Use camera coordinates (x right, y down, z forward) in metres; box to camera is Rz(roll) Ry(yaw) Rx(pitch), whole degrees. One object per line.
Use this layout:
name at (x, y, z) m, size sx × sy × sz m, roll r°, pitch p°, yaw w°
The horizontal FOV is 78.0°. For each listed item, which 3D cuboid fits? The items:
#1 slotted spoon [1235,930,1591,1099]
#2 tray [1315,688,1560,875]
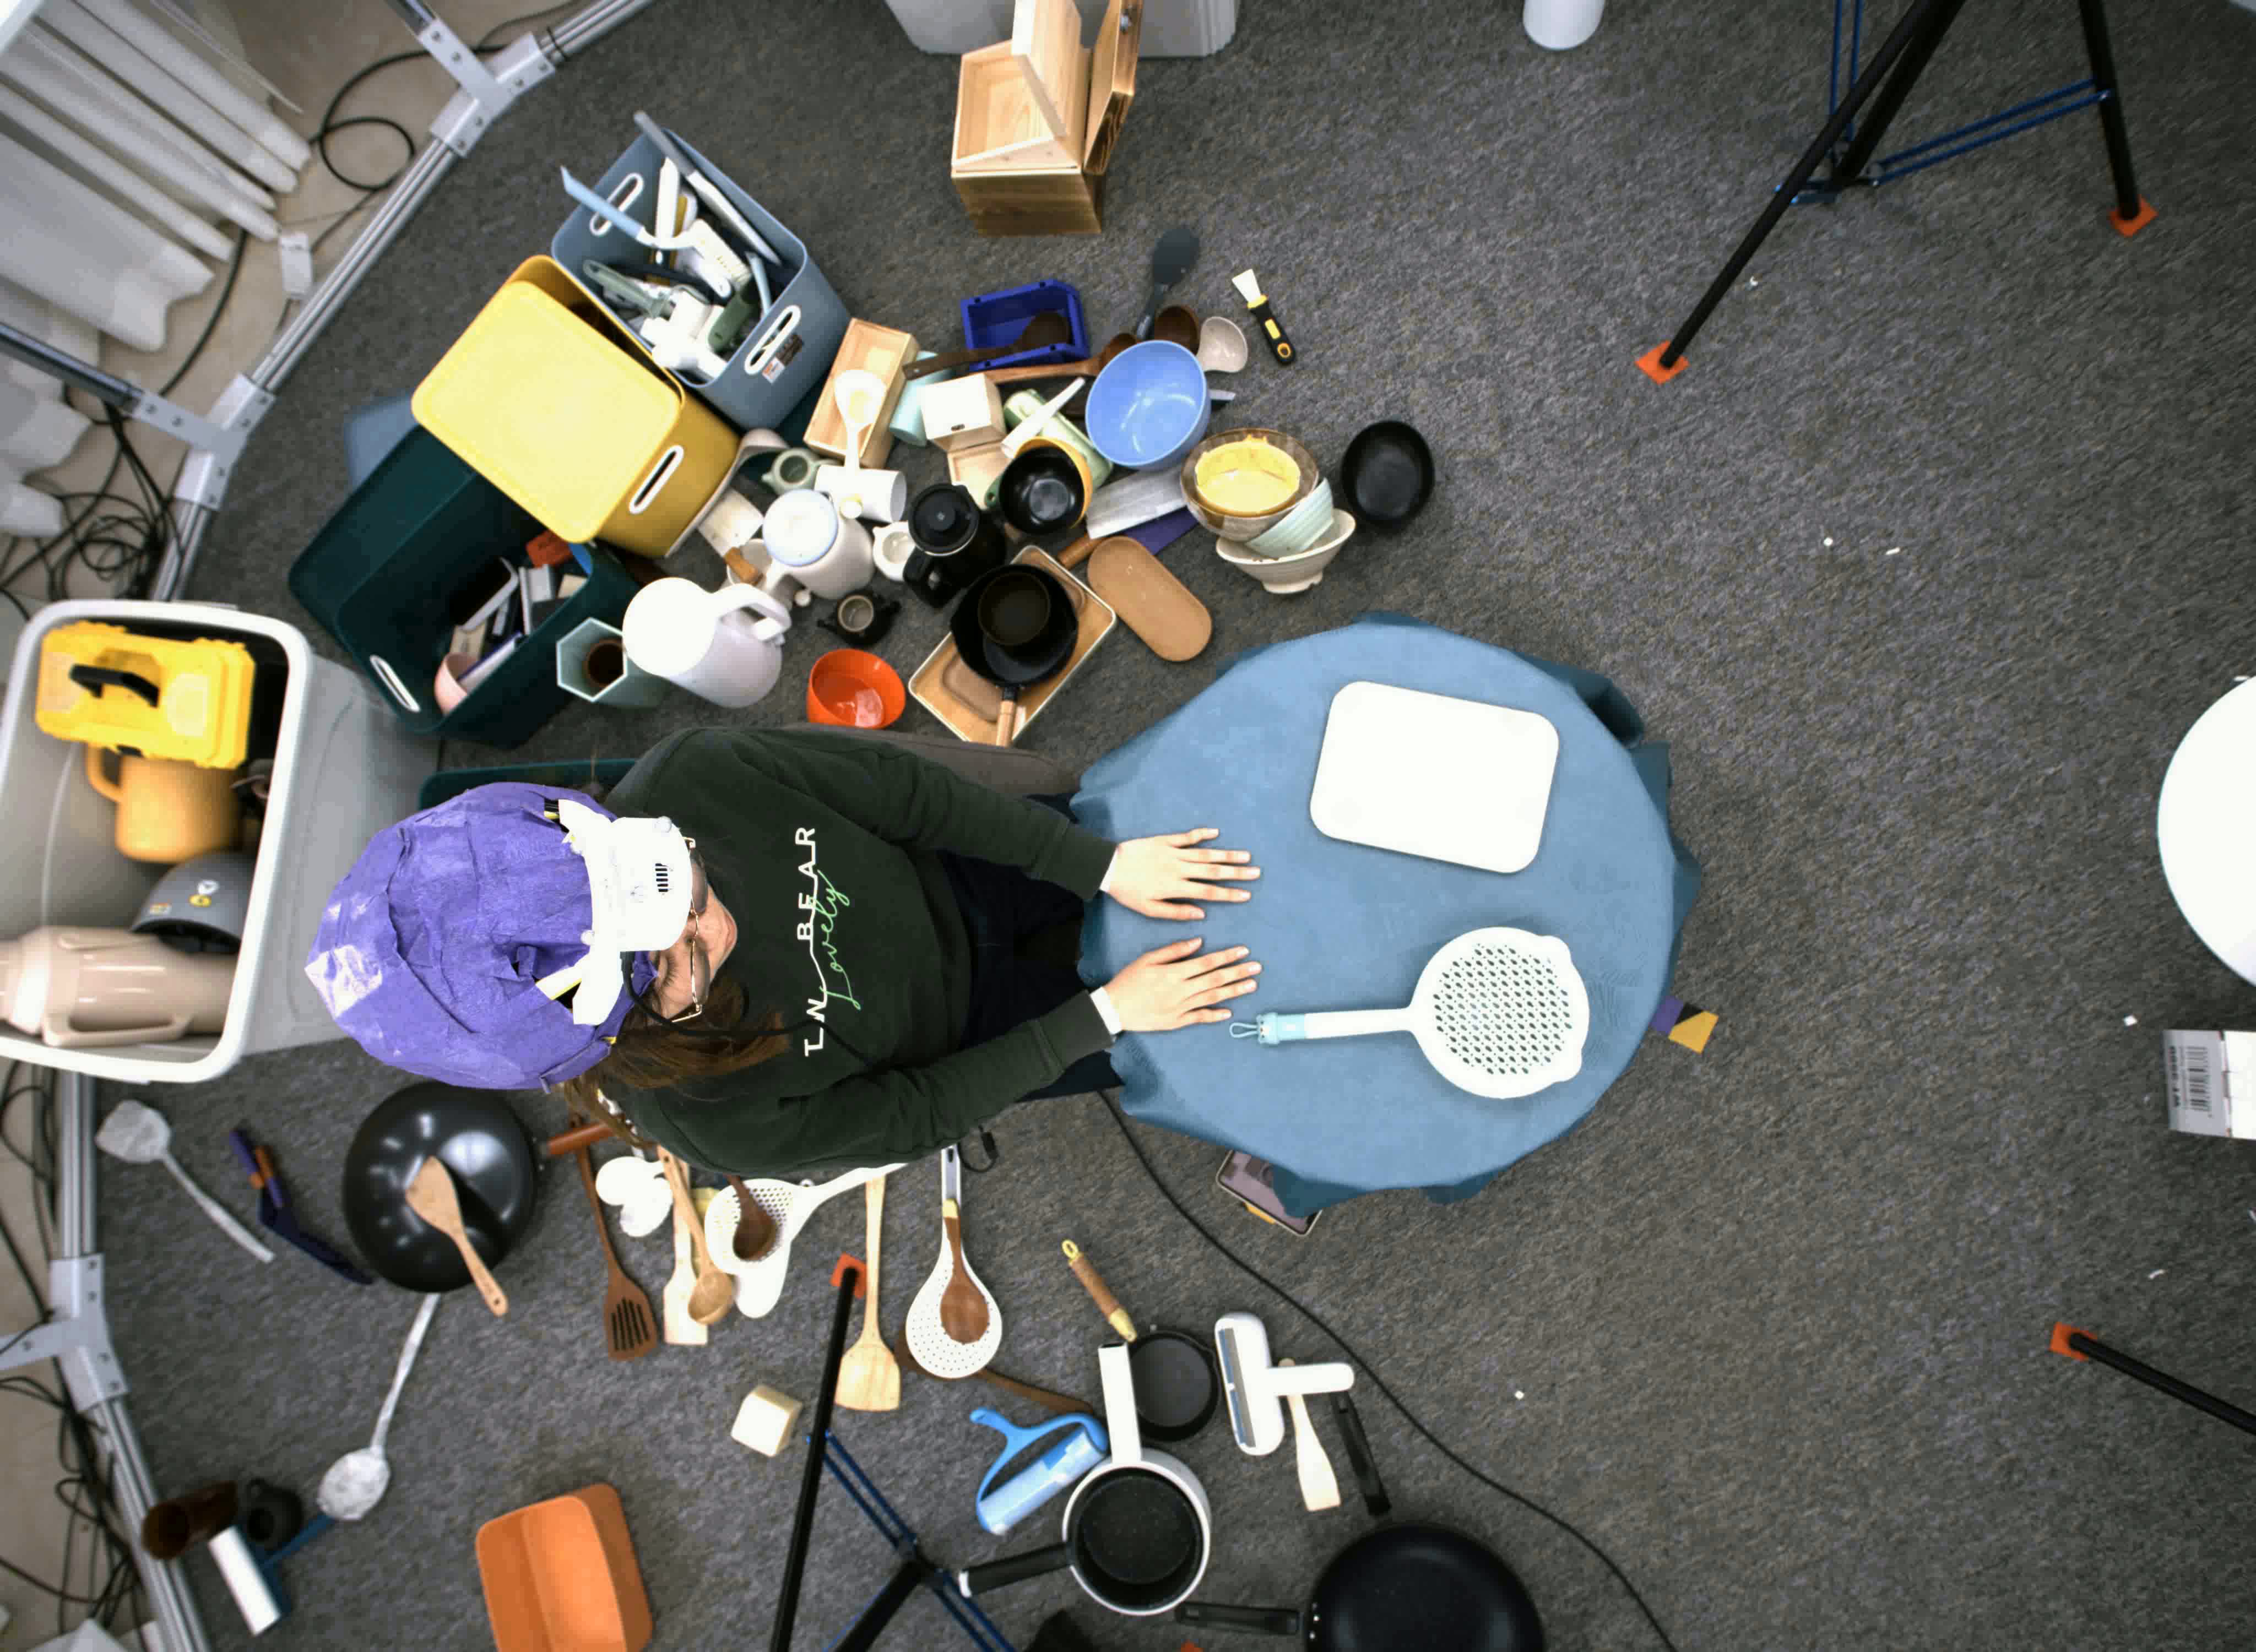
slotted spoon at (0.286, 0.198, 1.421) m, size 0.360 × 0.075 × 0.168 m, roll -5°, pitch 84°, yaw 10°
tray at (0.326, -0.050, 1.455) m, size 0.240 × 0.017 × 0.171 m, roll 11°, pitch 88°, yaw 12°
